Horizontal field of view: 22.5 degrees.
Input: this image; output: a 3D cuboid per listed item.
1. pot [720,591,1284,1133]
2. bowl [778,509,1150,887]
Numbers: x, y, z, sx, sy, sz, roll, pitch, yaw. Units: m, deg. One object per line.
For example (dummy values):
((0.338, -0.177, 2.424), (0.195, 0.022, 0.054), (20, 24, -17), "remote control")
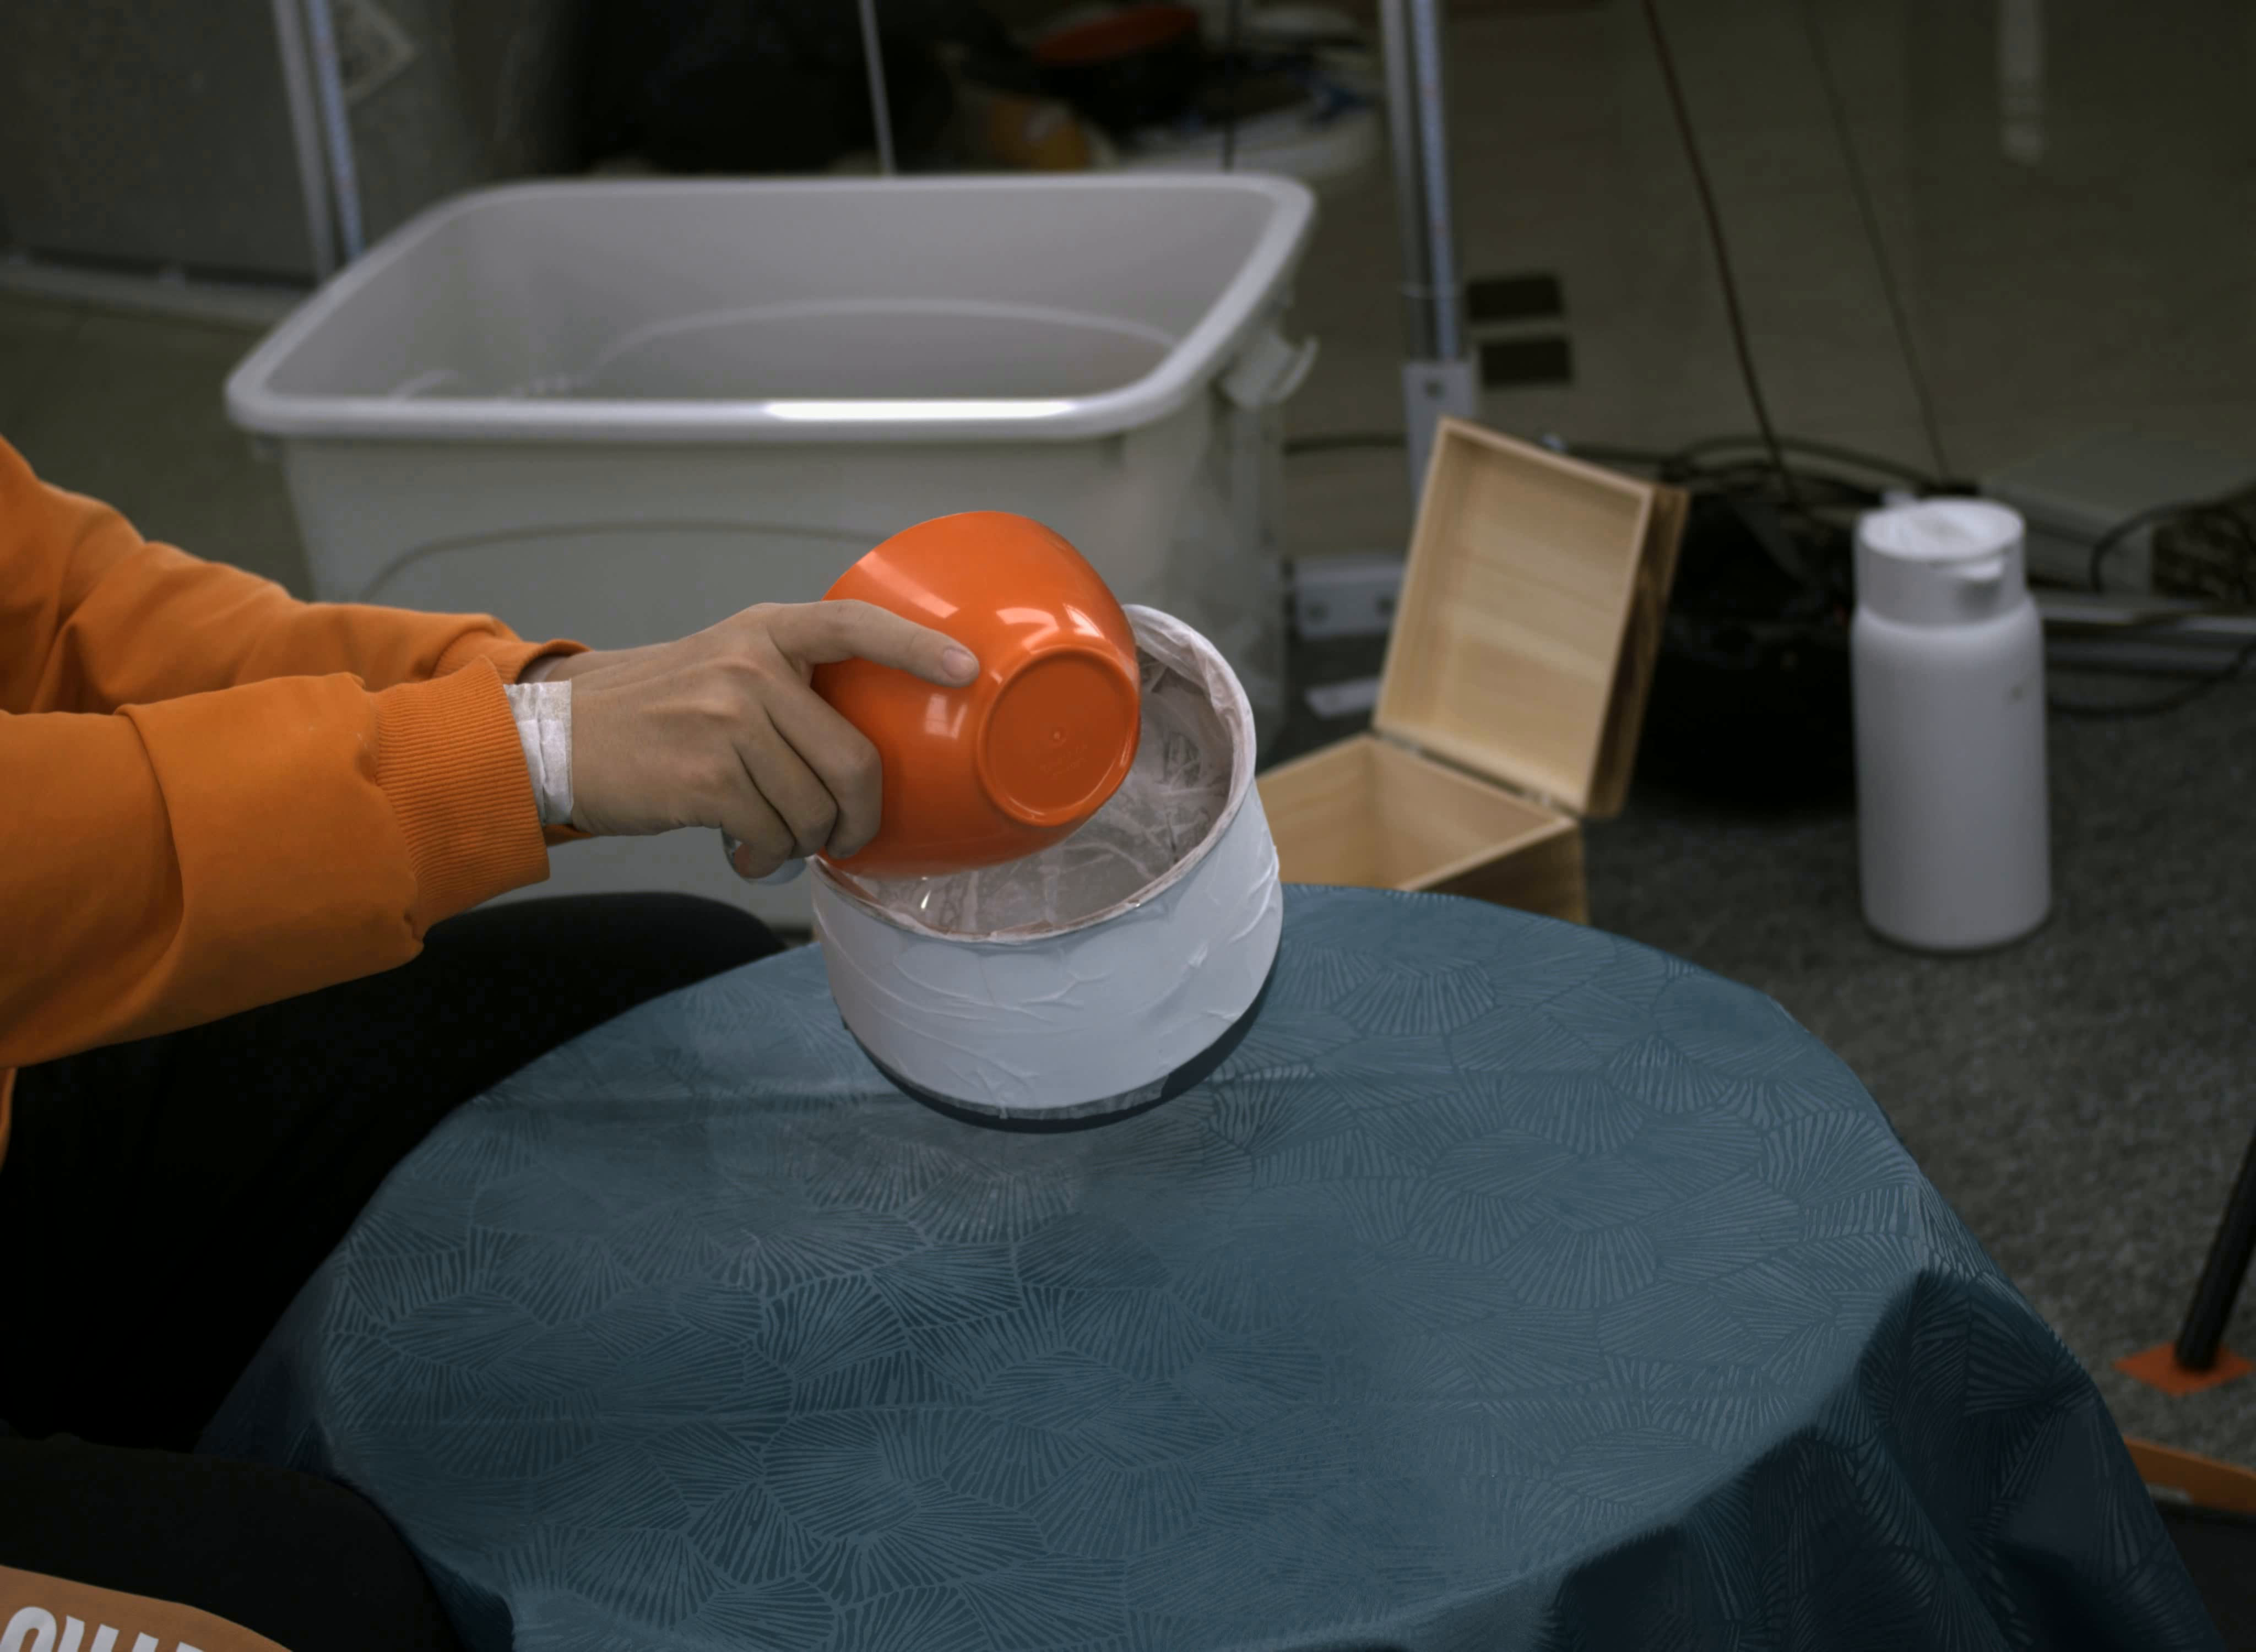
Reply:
((-0.056, 0.009, 2.149), (0.232, 0.139, 0.176), (17, 54, 23), "pot")
((-0.044, -0.036, 2.036), (0.147, 0.150, 0.103), (-20, 27, -26), "bowl")
